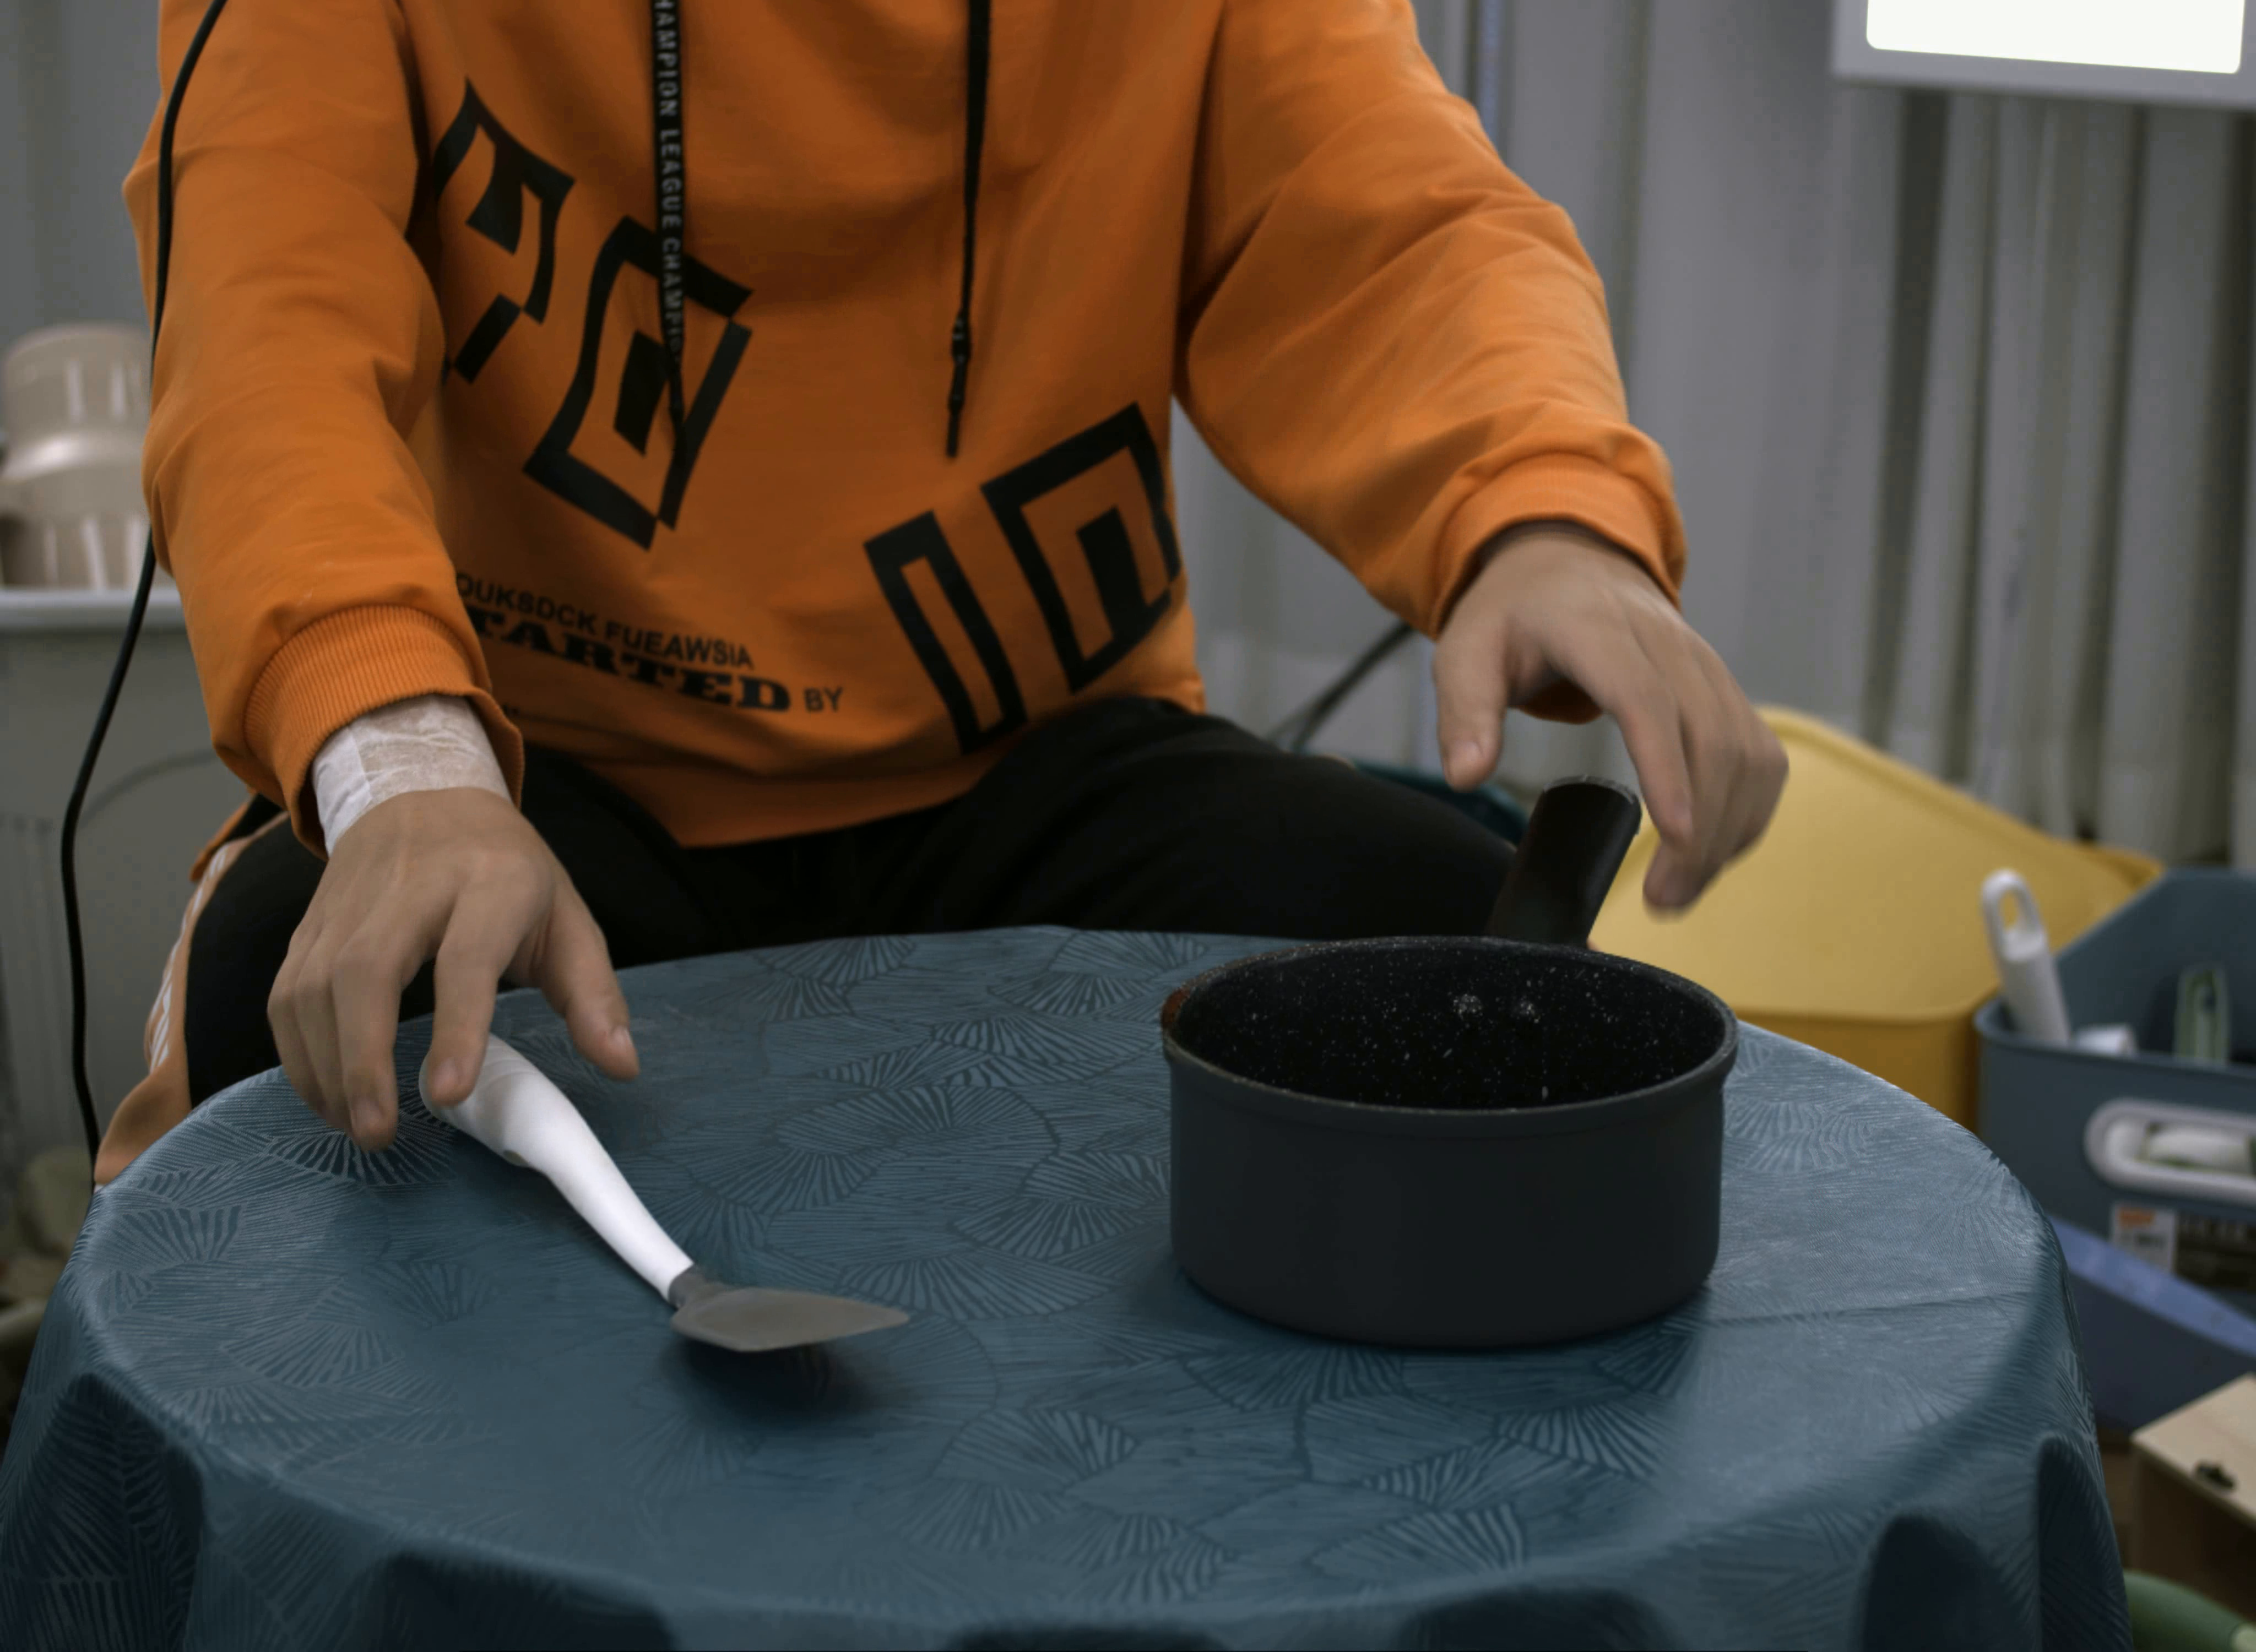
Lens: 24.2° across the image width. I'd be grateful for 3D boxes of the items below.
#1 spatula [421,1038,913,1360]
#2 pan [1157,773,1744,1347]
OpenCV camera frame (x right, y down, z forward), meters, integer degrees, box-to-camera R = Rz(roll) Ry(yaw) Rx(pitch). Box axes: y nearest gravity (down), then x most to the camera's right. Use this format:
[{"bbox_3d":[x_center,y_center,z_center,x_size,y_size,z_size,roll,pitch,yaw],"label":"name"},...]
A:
[{"bbox_3d":[-0.144,0.115,1.550,0.059,0.032,0.284,-4,15,-27],"label":"spatula"},{"bbox_3d":[0.117,0.068,1.627,0.170,0.087,0.328,6,18,16],"label":"pan"}]
